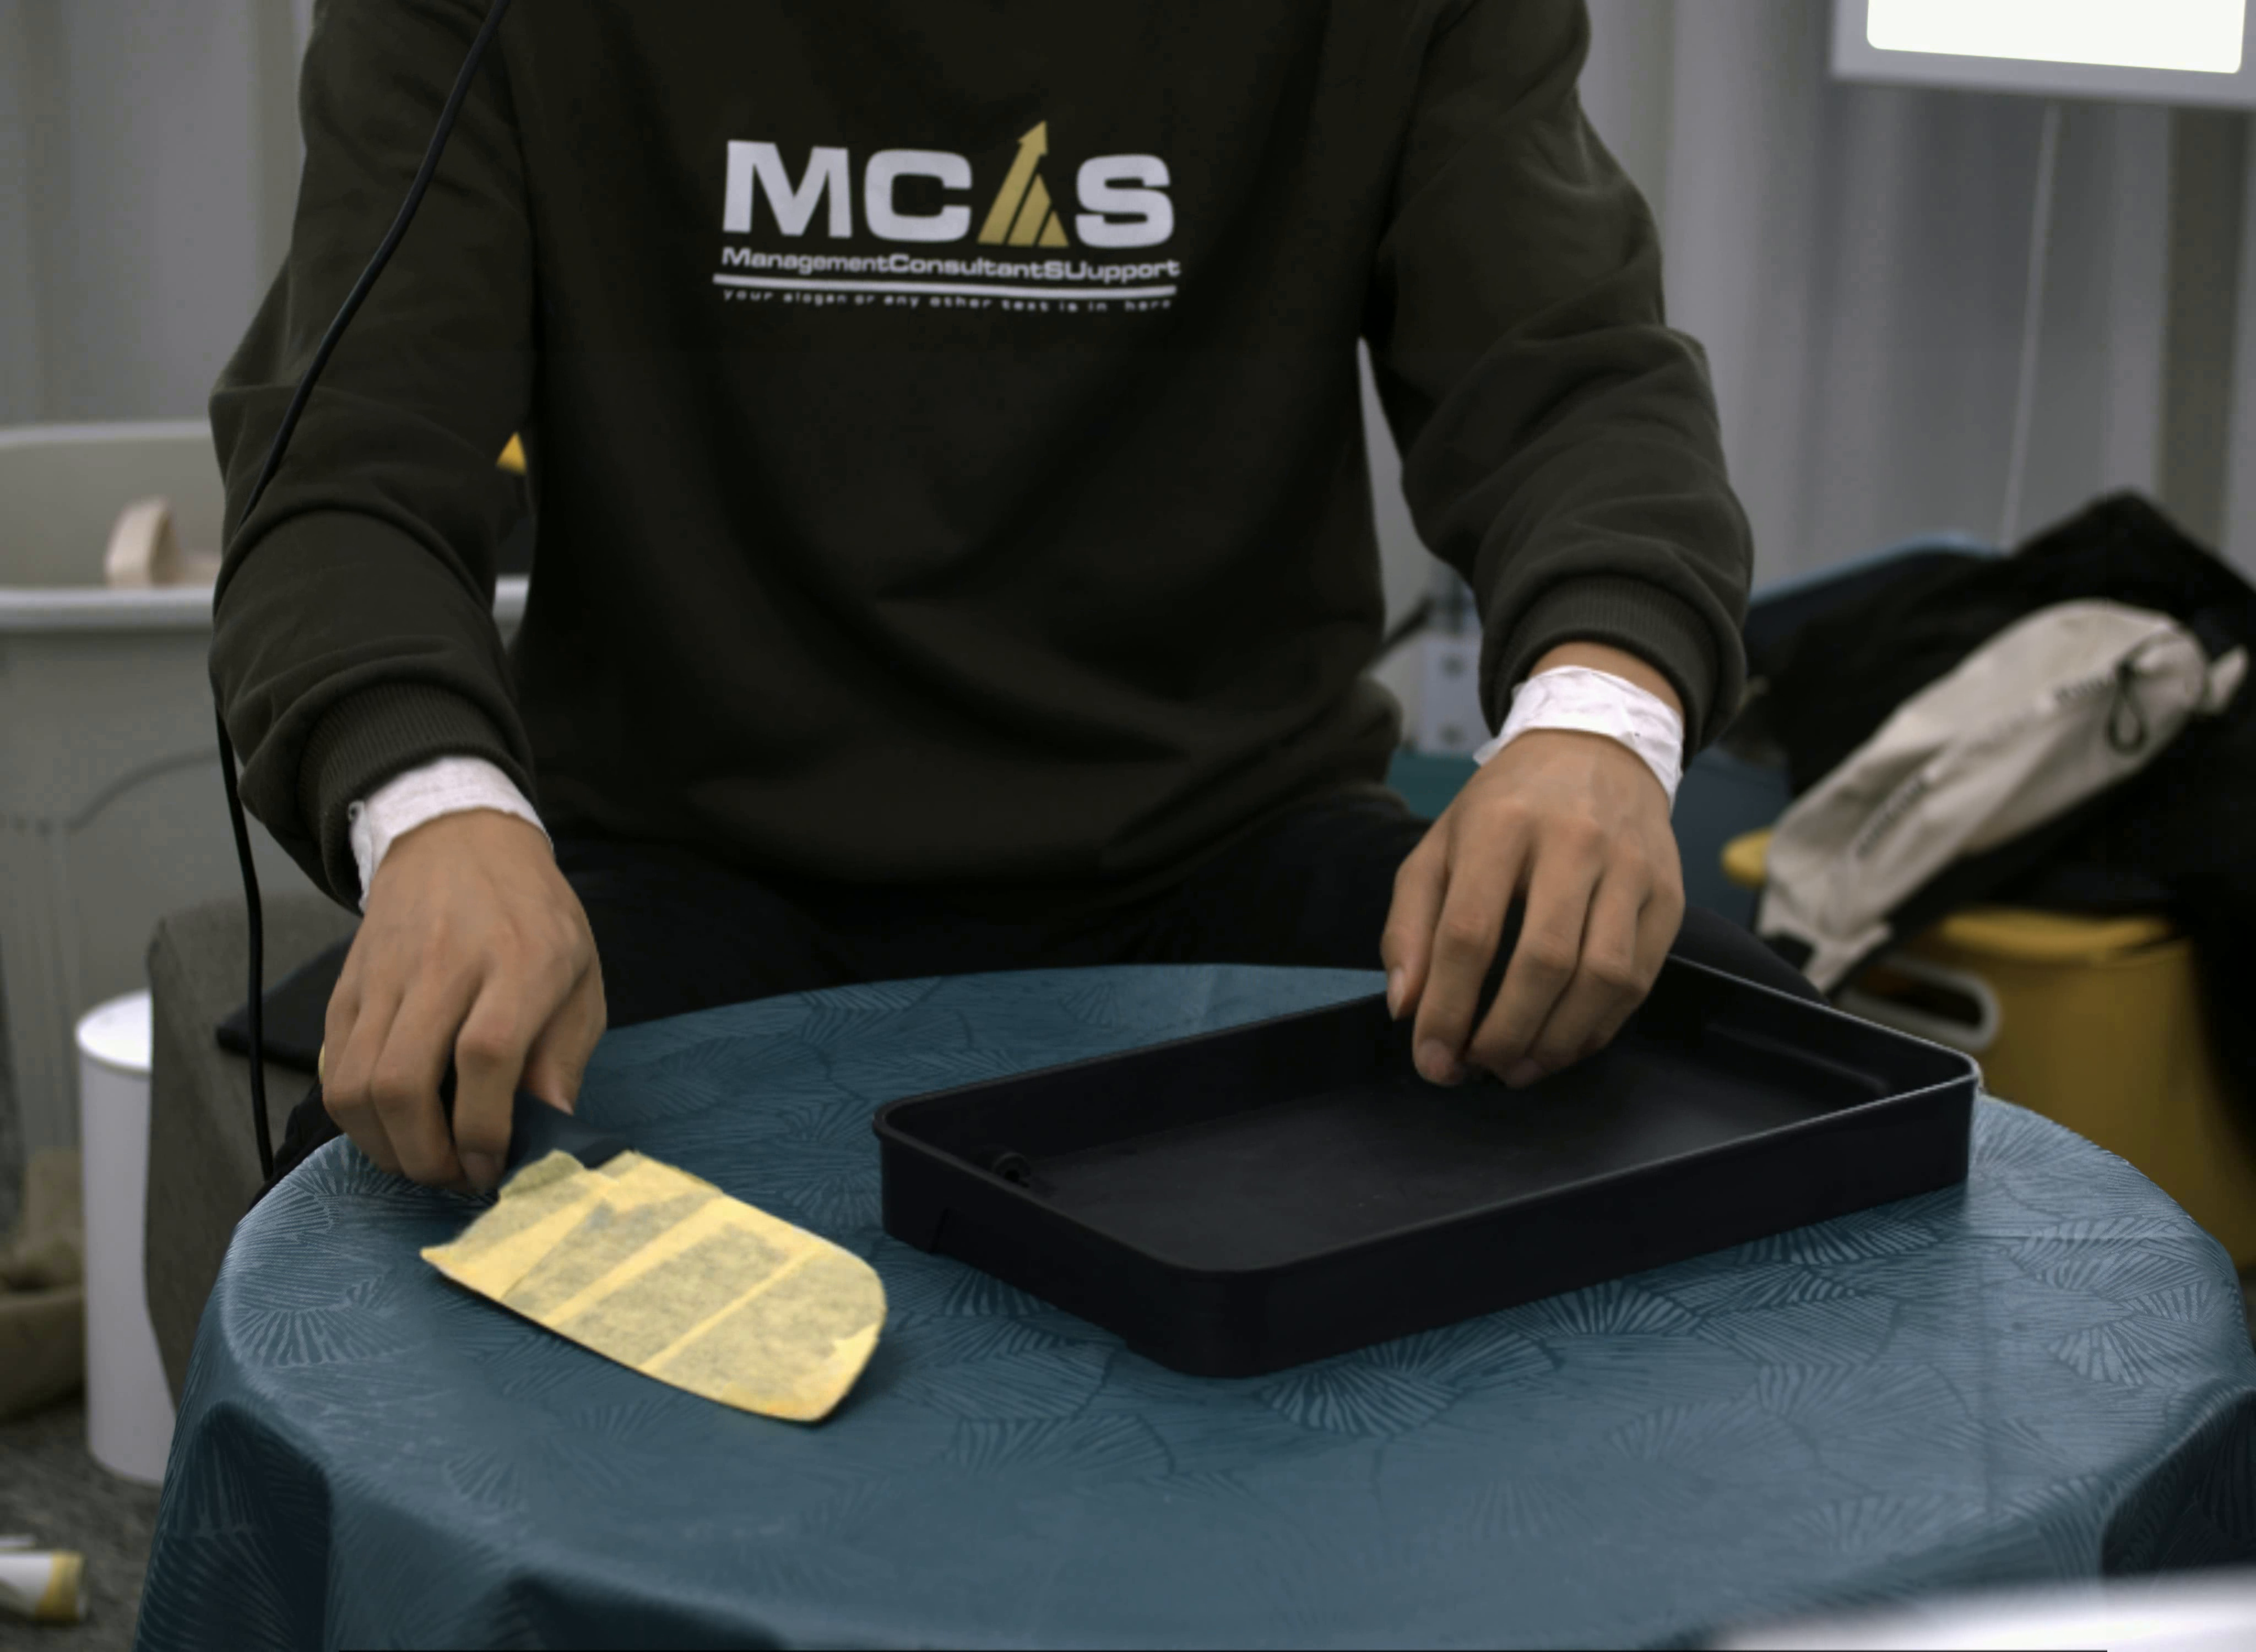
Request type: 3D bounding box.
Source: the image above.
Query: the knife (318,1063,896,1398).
[{"bbox_3d":[-0.165,0.118,1.546,0.081,0.027,0.285,-28,30,-32],"label":"knife"}]

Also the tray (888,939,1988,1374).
[{"bbox_3d":[0.098,0.096,1.620,0.319,0.037,0.182,-12,19,-38],"label":"tray"}]
